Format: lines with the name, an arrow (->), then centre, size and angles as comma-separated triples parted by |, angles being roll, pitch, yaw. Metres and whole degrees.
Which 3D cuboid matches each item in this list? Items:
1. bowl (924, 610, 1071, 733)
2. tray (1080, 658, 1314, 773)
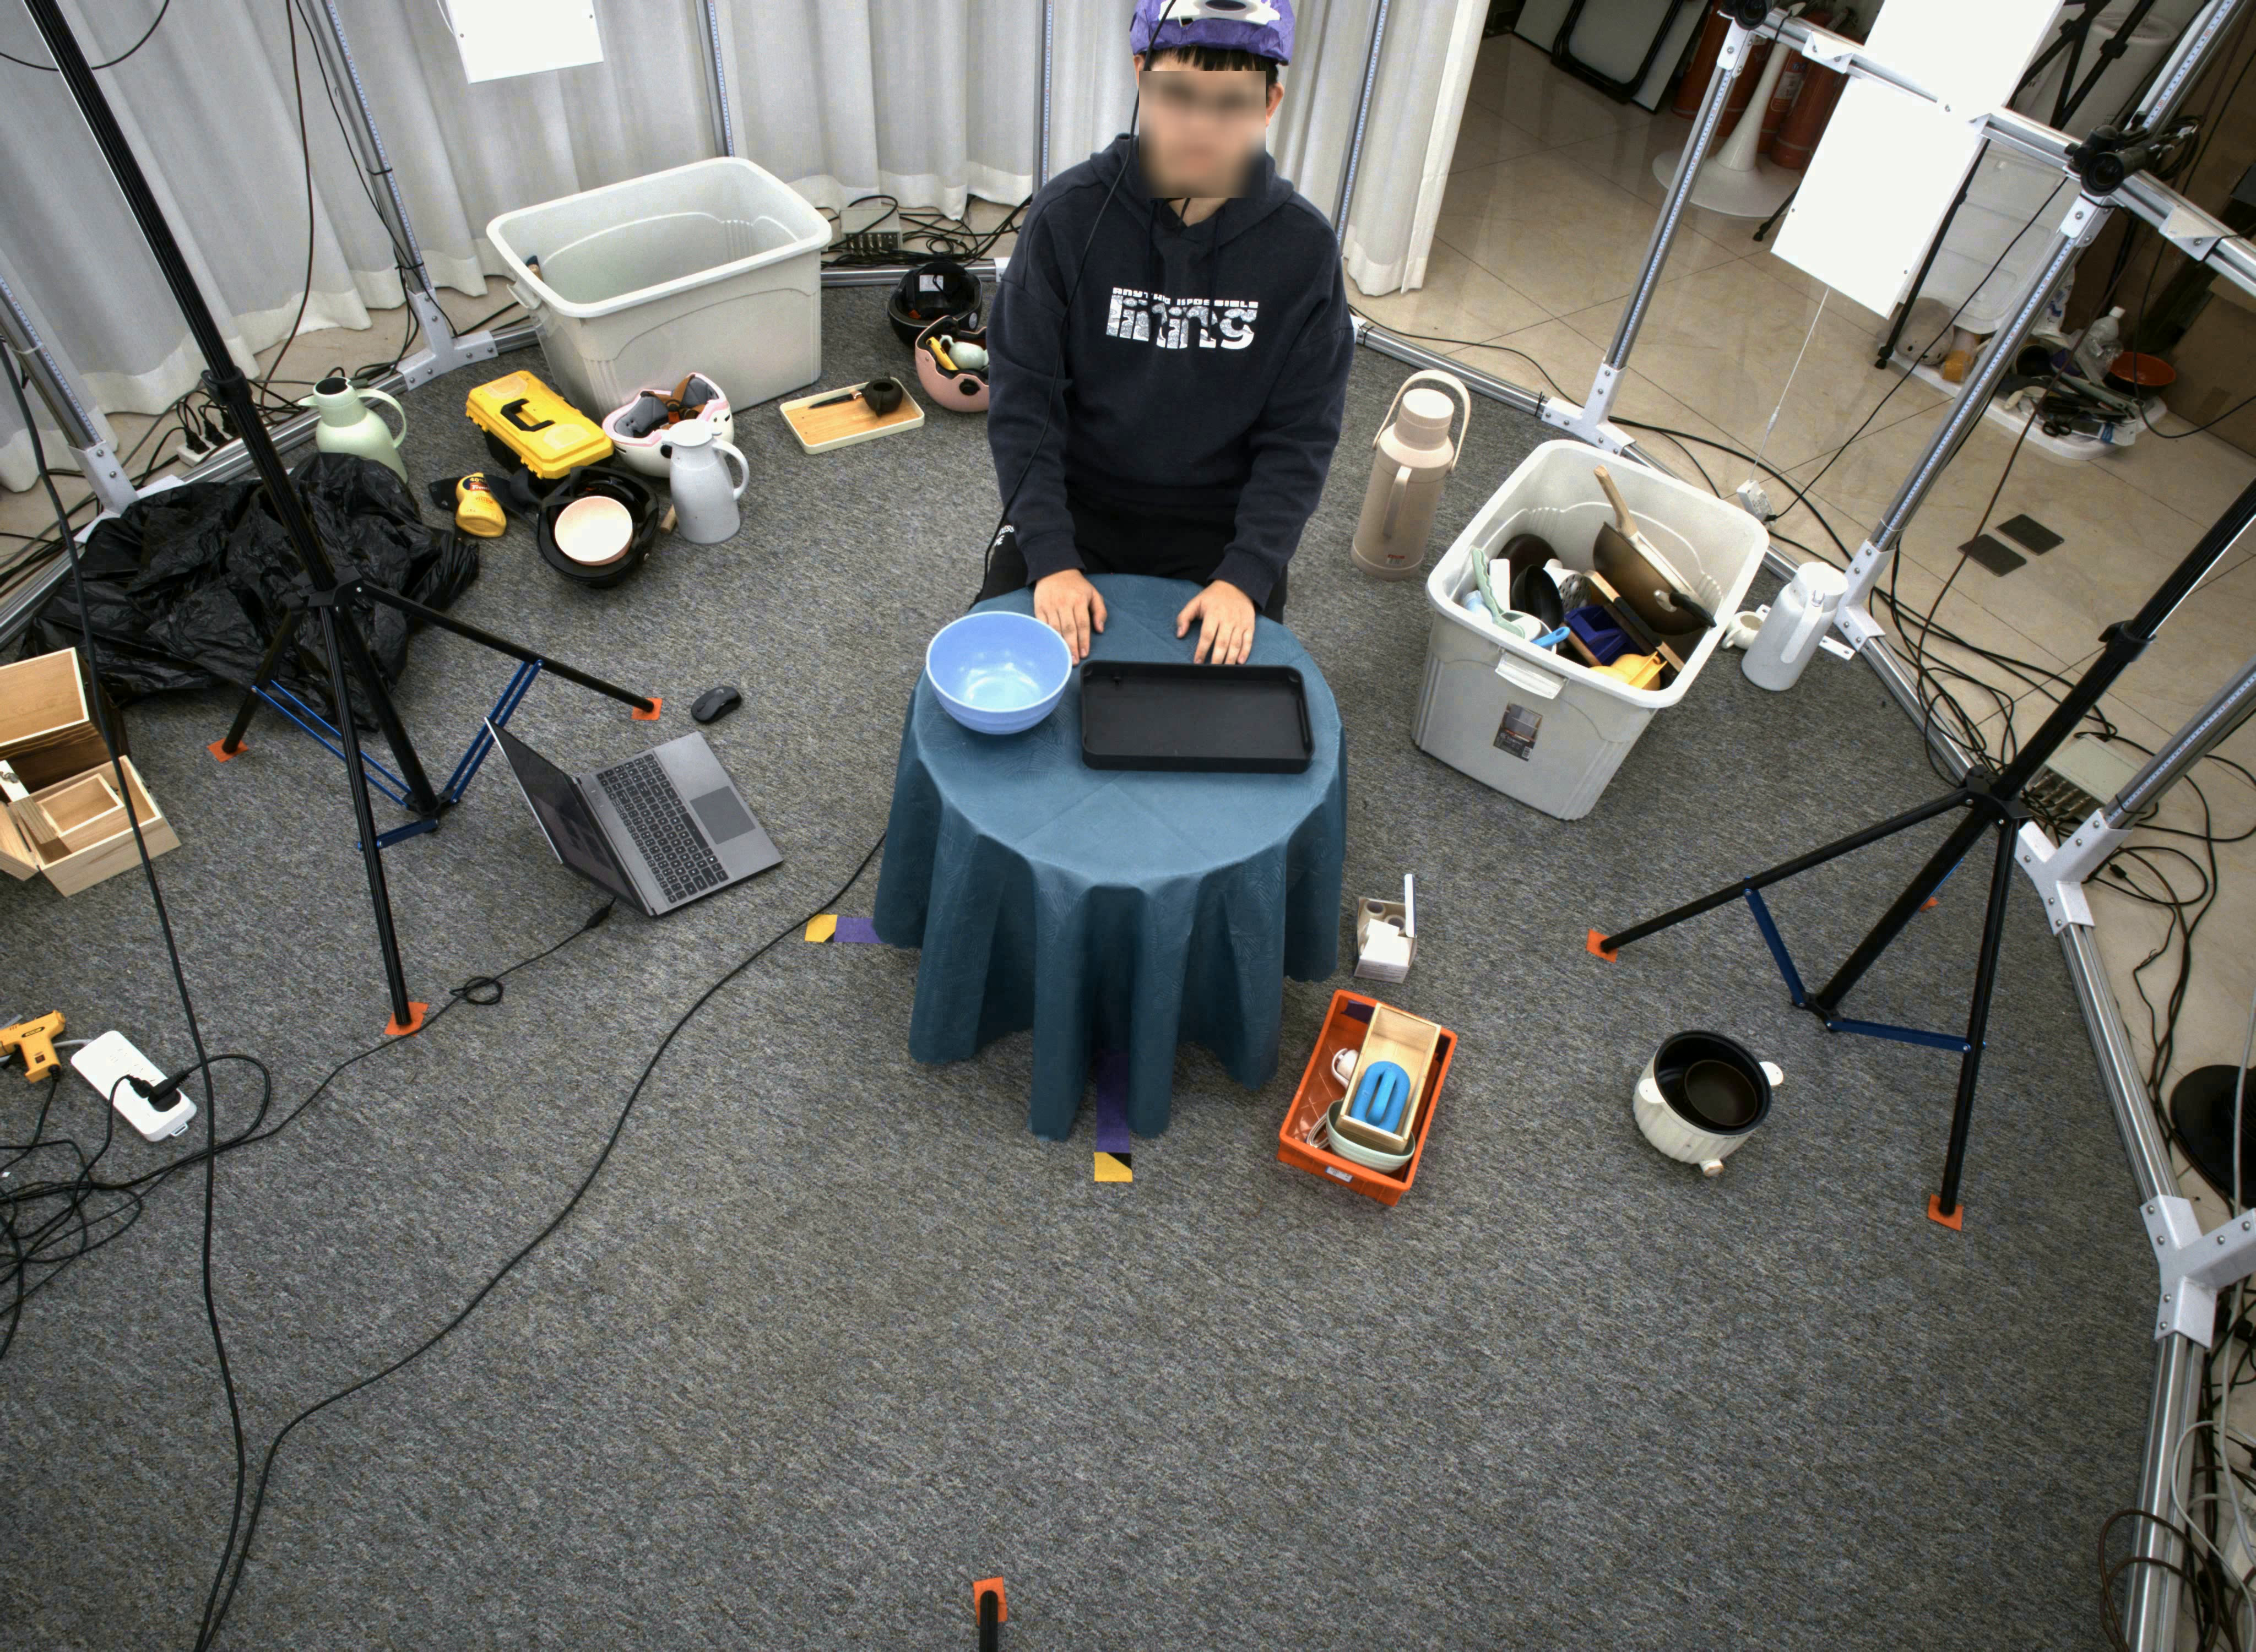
bowl -> -0.176, -0.196, 1.758 | 0.196, 0.093, 0.201 | 1, 50, -1
tray -> 0.091, -0.154, 1.781 | 0.317, 0.036, 0.189 | 1, 49, -4
